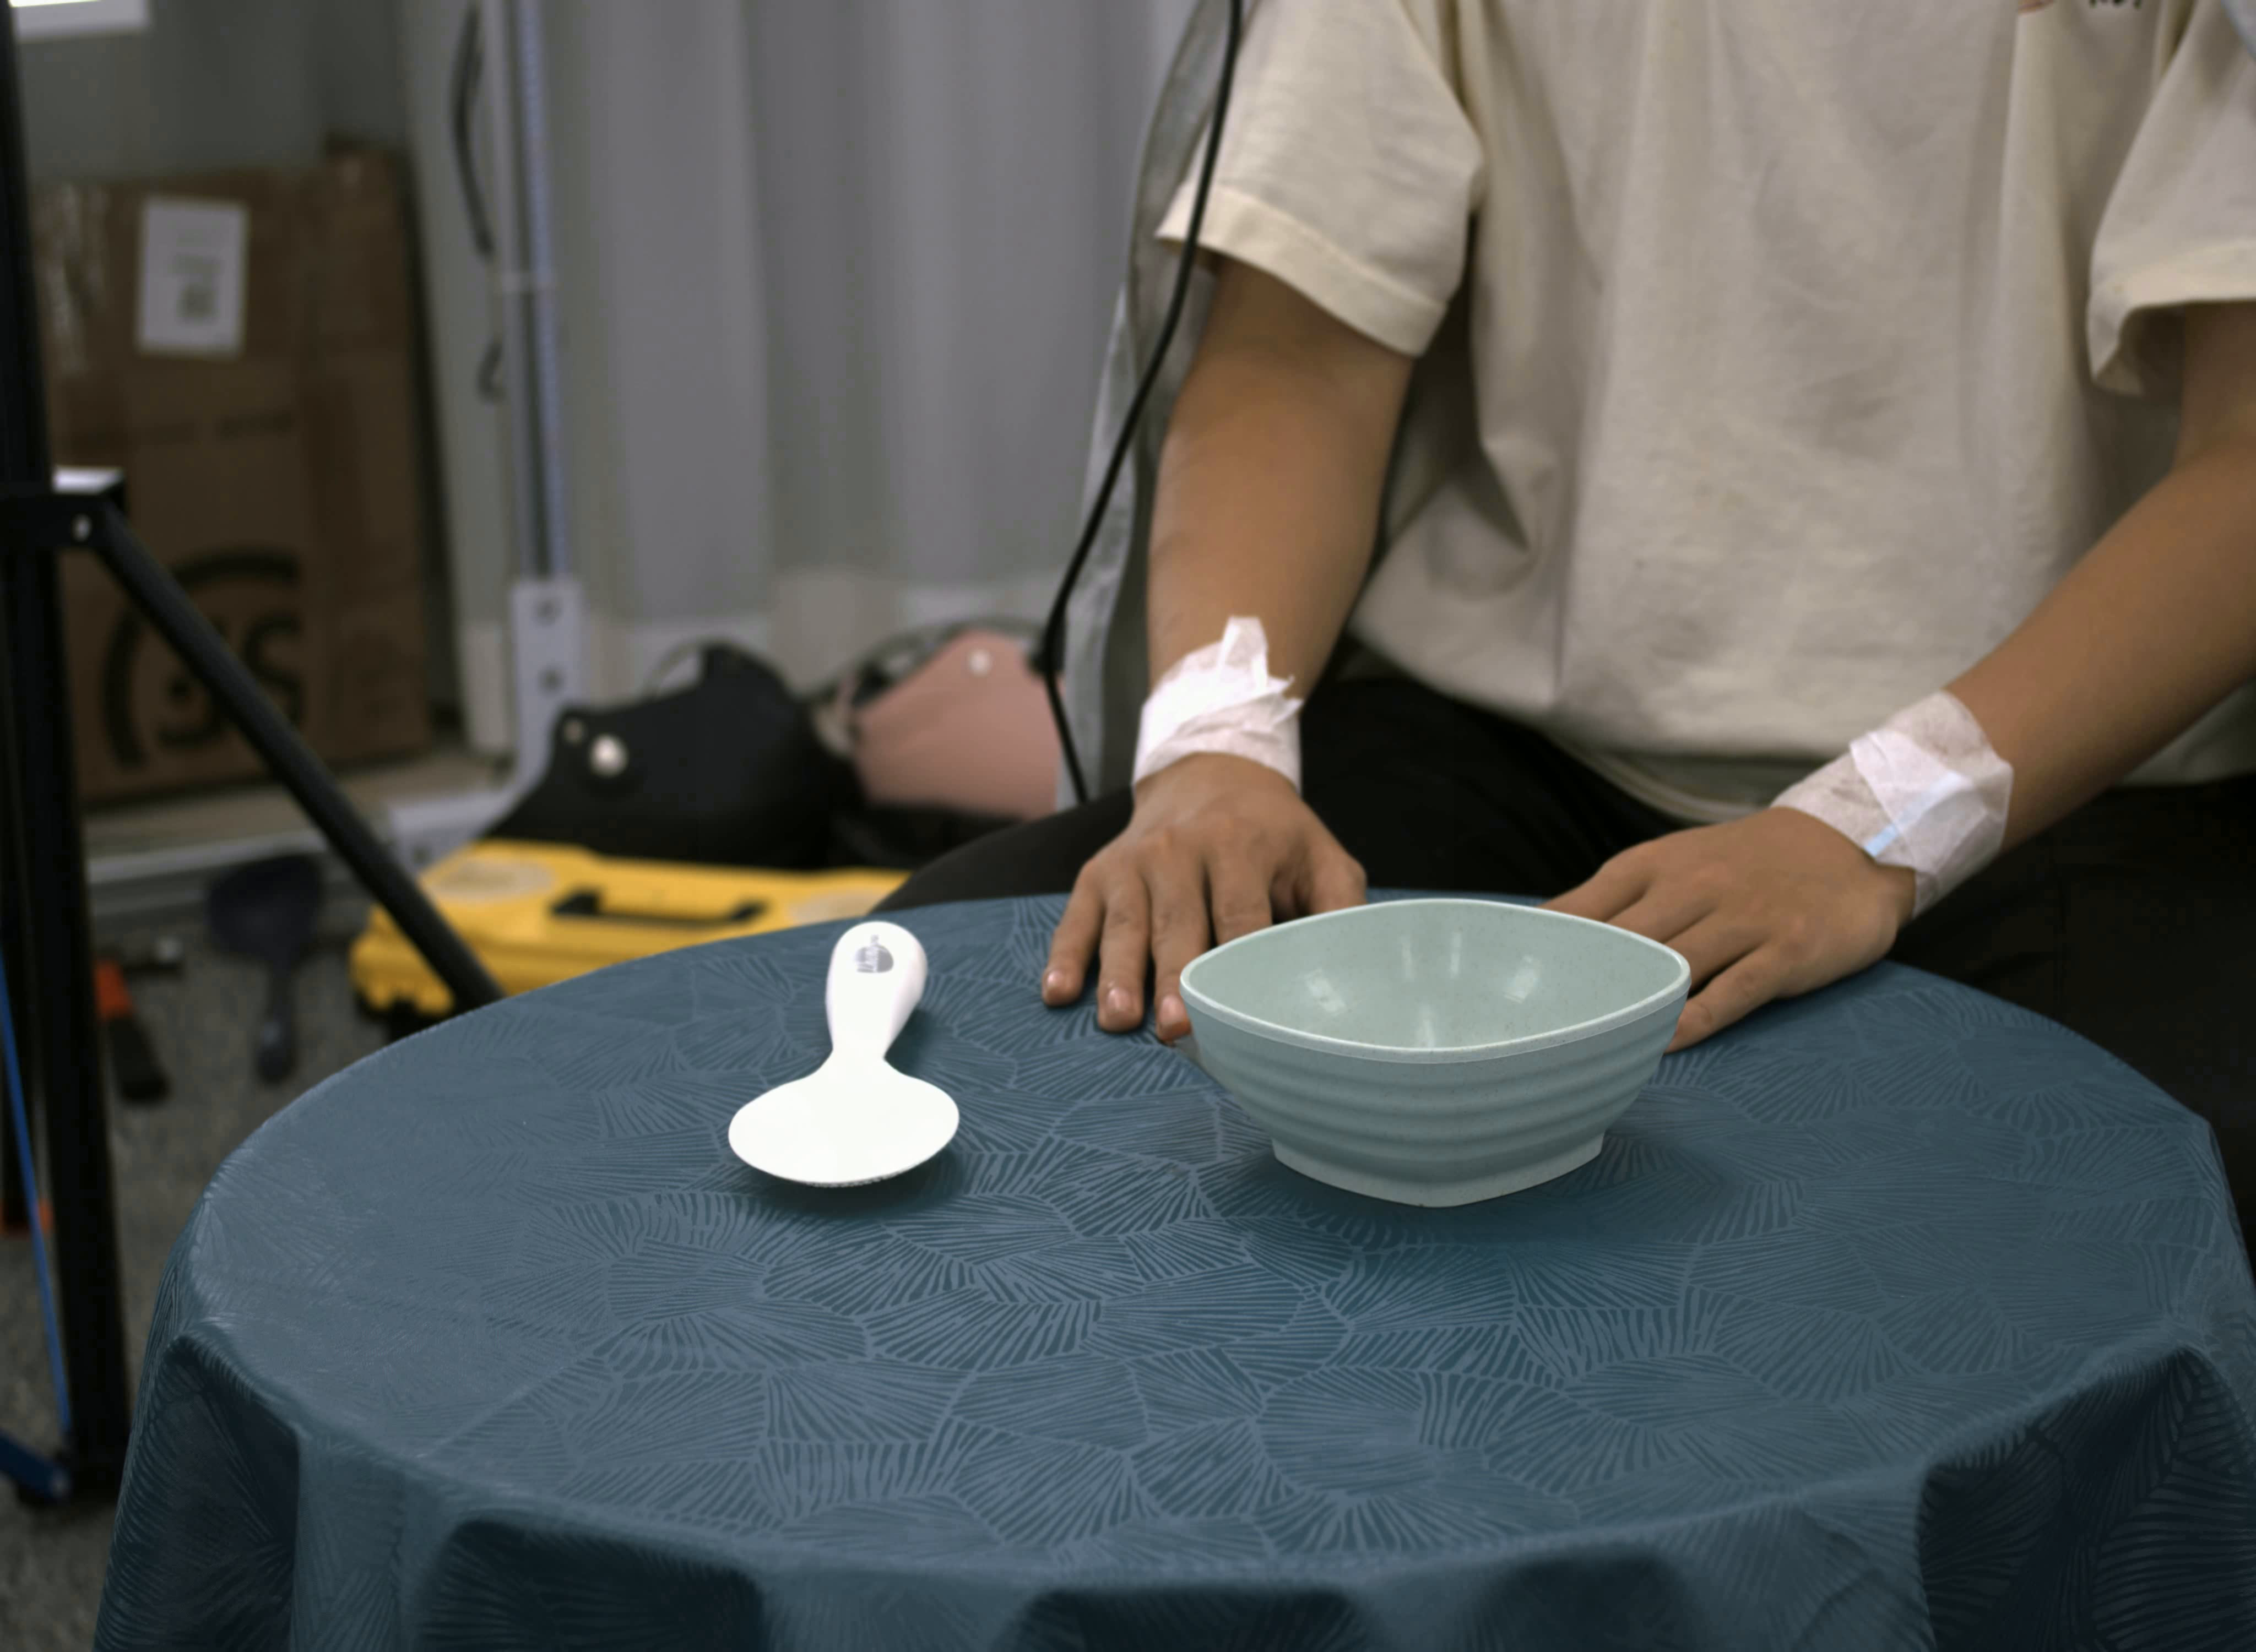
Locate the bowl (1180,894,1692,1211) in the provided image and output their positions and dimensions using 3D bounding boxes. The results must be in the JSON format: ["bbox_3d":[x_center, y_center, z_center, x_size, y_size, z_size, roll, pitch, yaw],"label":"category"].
[{"bbox_3d":[0.092,0.070,1.570,0.151,0.058,0.152,-5,16,0],"label":"bowl"}]

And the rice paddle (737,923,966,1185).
[{"bbox_3d":[-0.082,0.073,1.640,0.068,0.029,0.206,-4,15,2],"label":"rice paddle"}]
